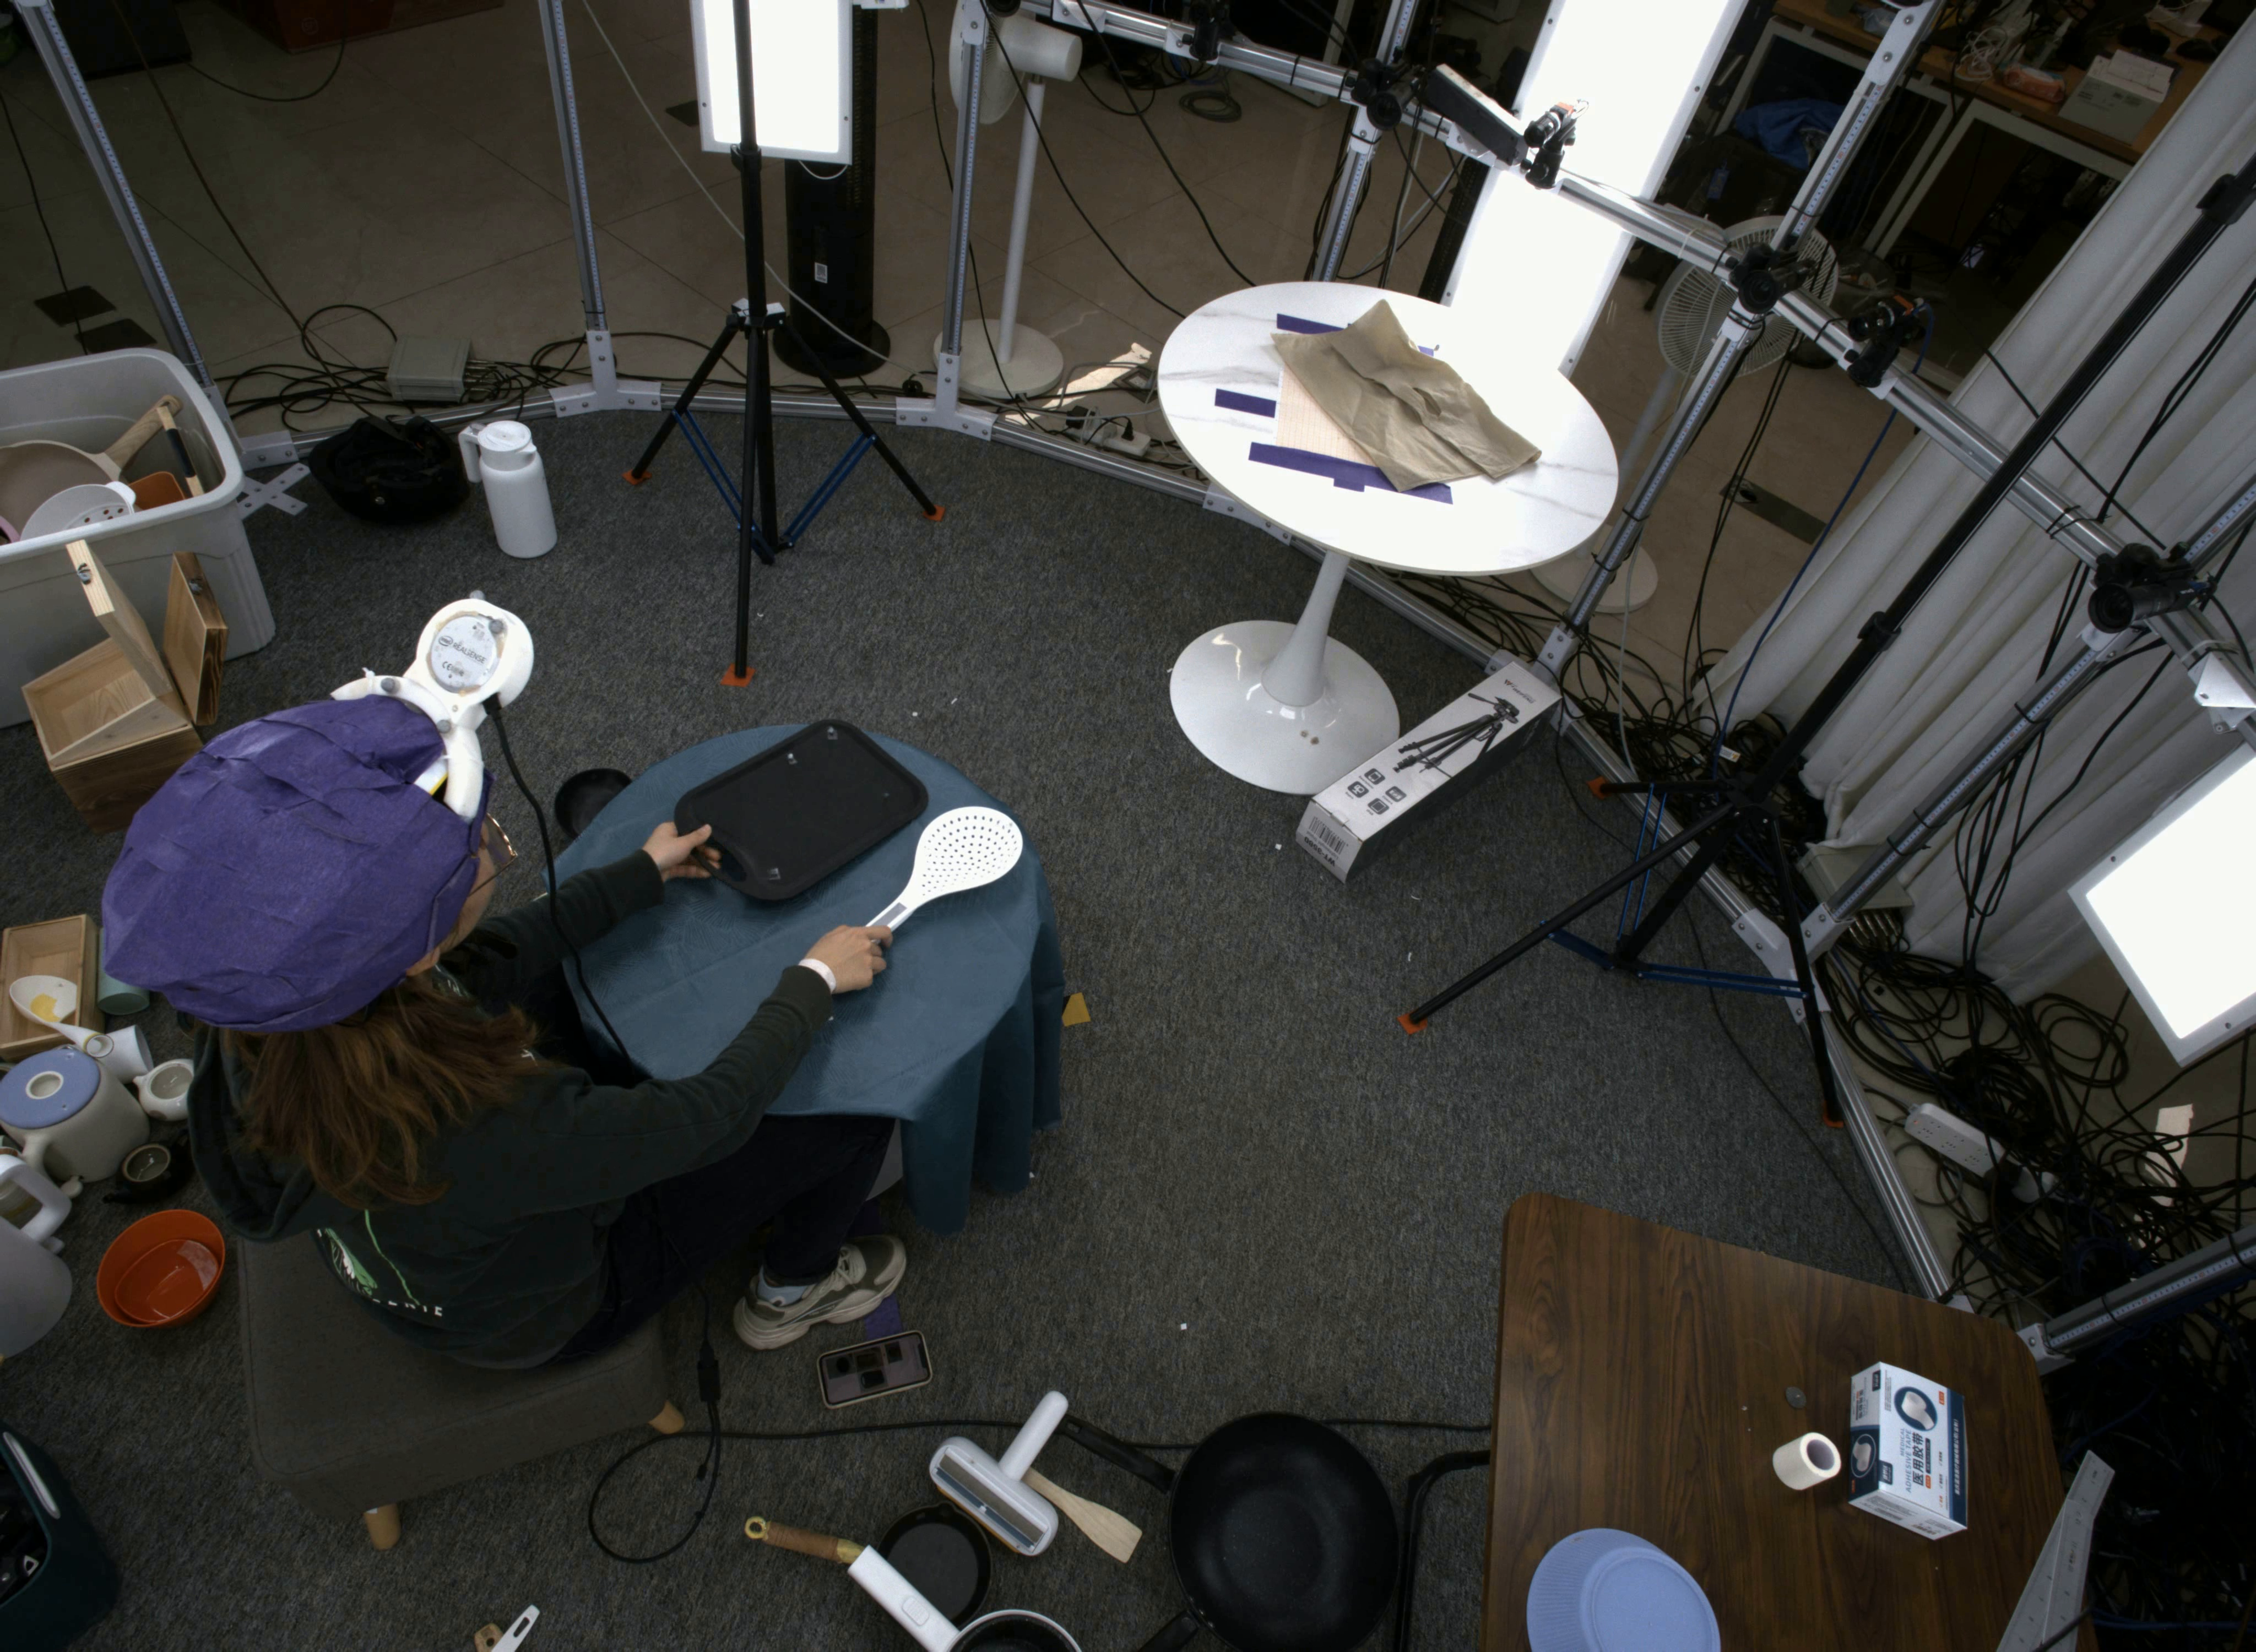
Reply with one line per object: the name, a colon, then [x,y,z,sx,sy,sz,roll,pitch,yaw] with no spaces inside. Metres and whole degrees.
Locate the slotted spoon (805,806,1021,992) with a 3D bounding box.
slotted spoon: [-0.276,0.091,1.665,0.132,0.047,0.350,31,50,24]

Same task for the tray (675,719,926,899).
tray: [-0.434,-0.027,1.717,0.207,0.010,0.326,40,48,14]
